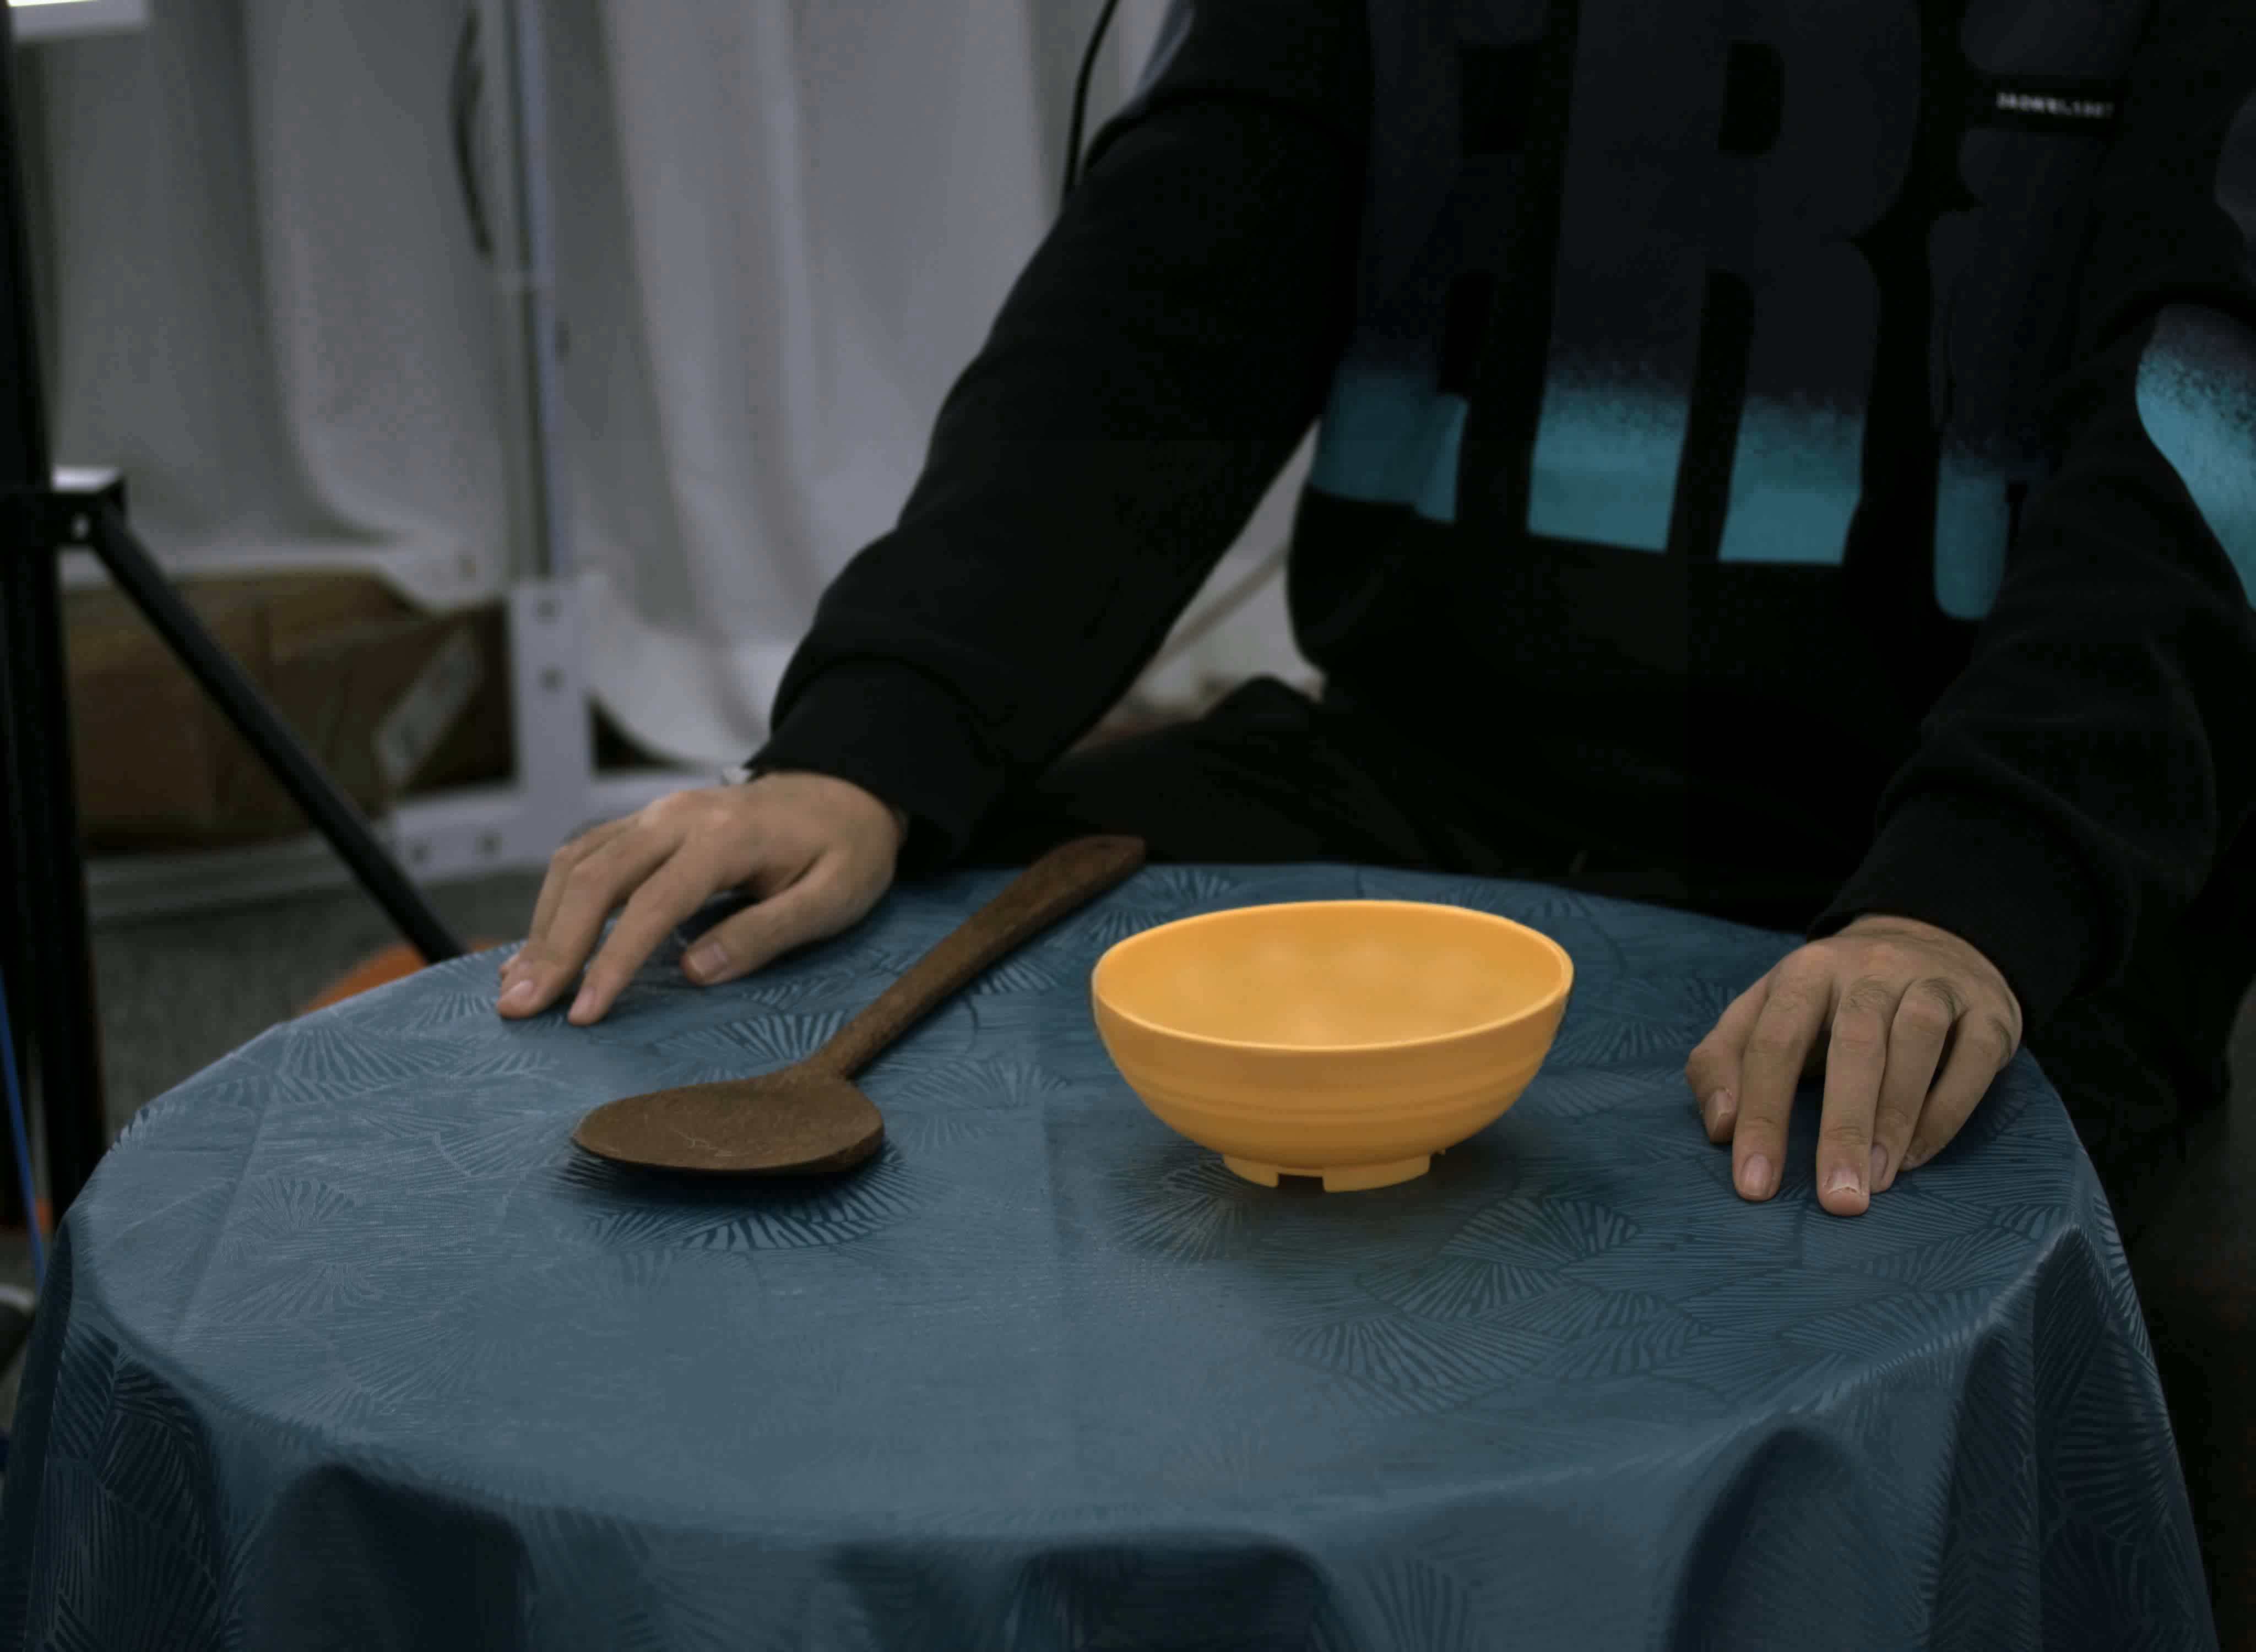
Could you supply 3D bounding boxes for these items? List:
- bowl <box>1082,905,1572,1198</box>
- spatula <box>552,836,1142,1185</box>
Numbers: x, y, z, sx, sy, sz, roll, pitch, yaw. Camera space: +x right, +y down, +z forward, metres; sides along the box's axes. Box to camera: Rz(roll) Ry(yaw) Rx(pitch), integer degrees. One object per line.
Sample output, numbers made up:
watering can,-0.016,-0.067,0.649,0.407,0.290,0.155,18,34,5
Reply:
bowl,0.058,0.072,1.573,0.144,0.060,0.146,0,15,-1
spatula,-0.069,0.055,1.736,0.097,0.016,0.381,4,17,20
